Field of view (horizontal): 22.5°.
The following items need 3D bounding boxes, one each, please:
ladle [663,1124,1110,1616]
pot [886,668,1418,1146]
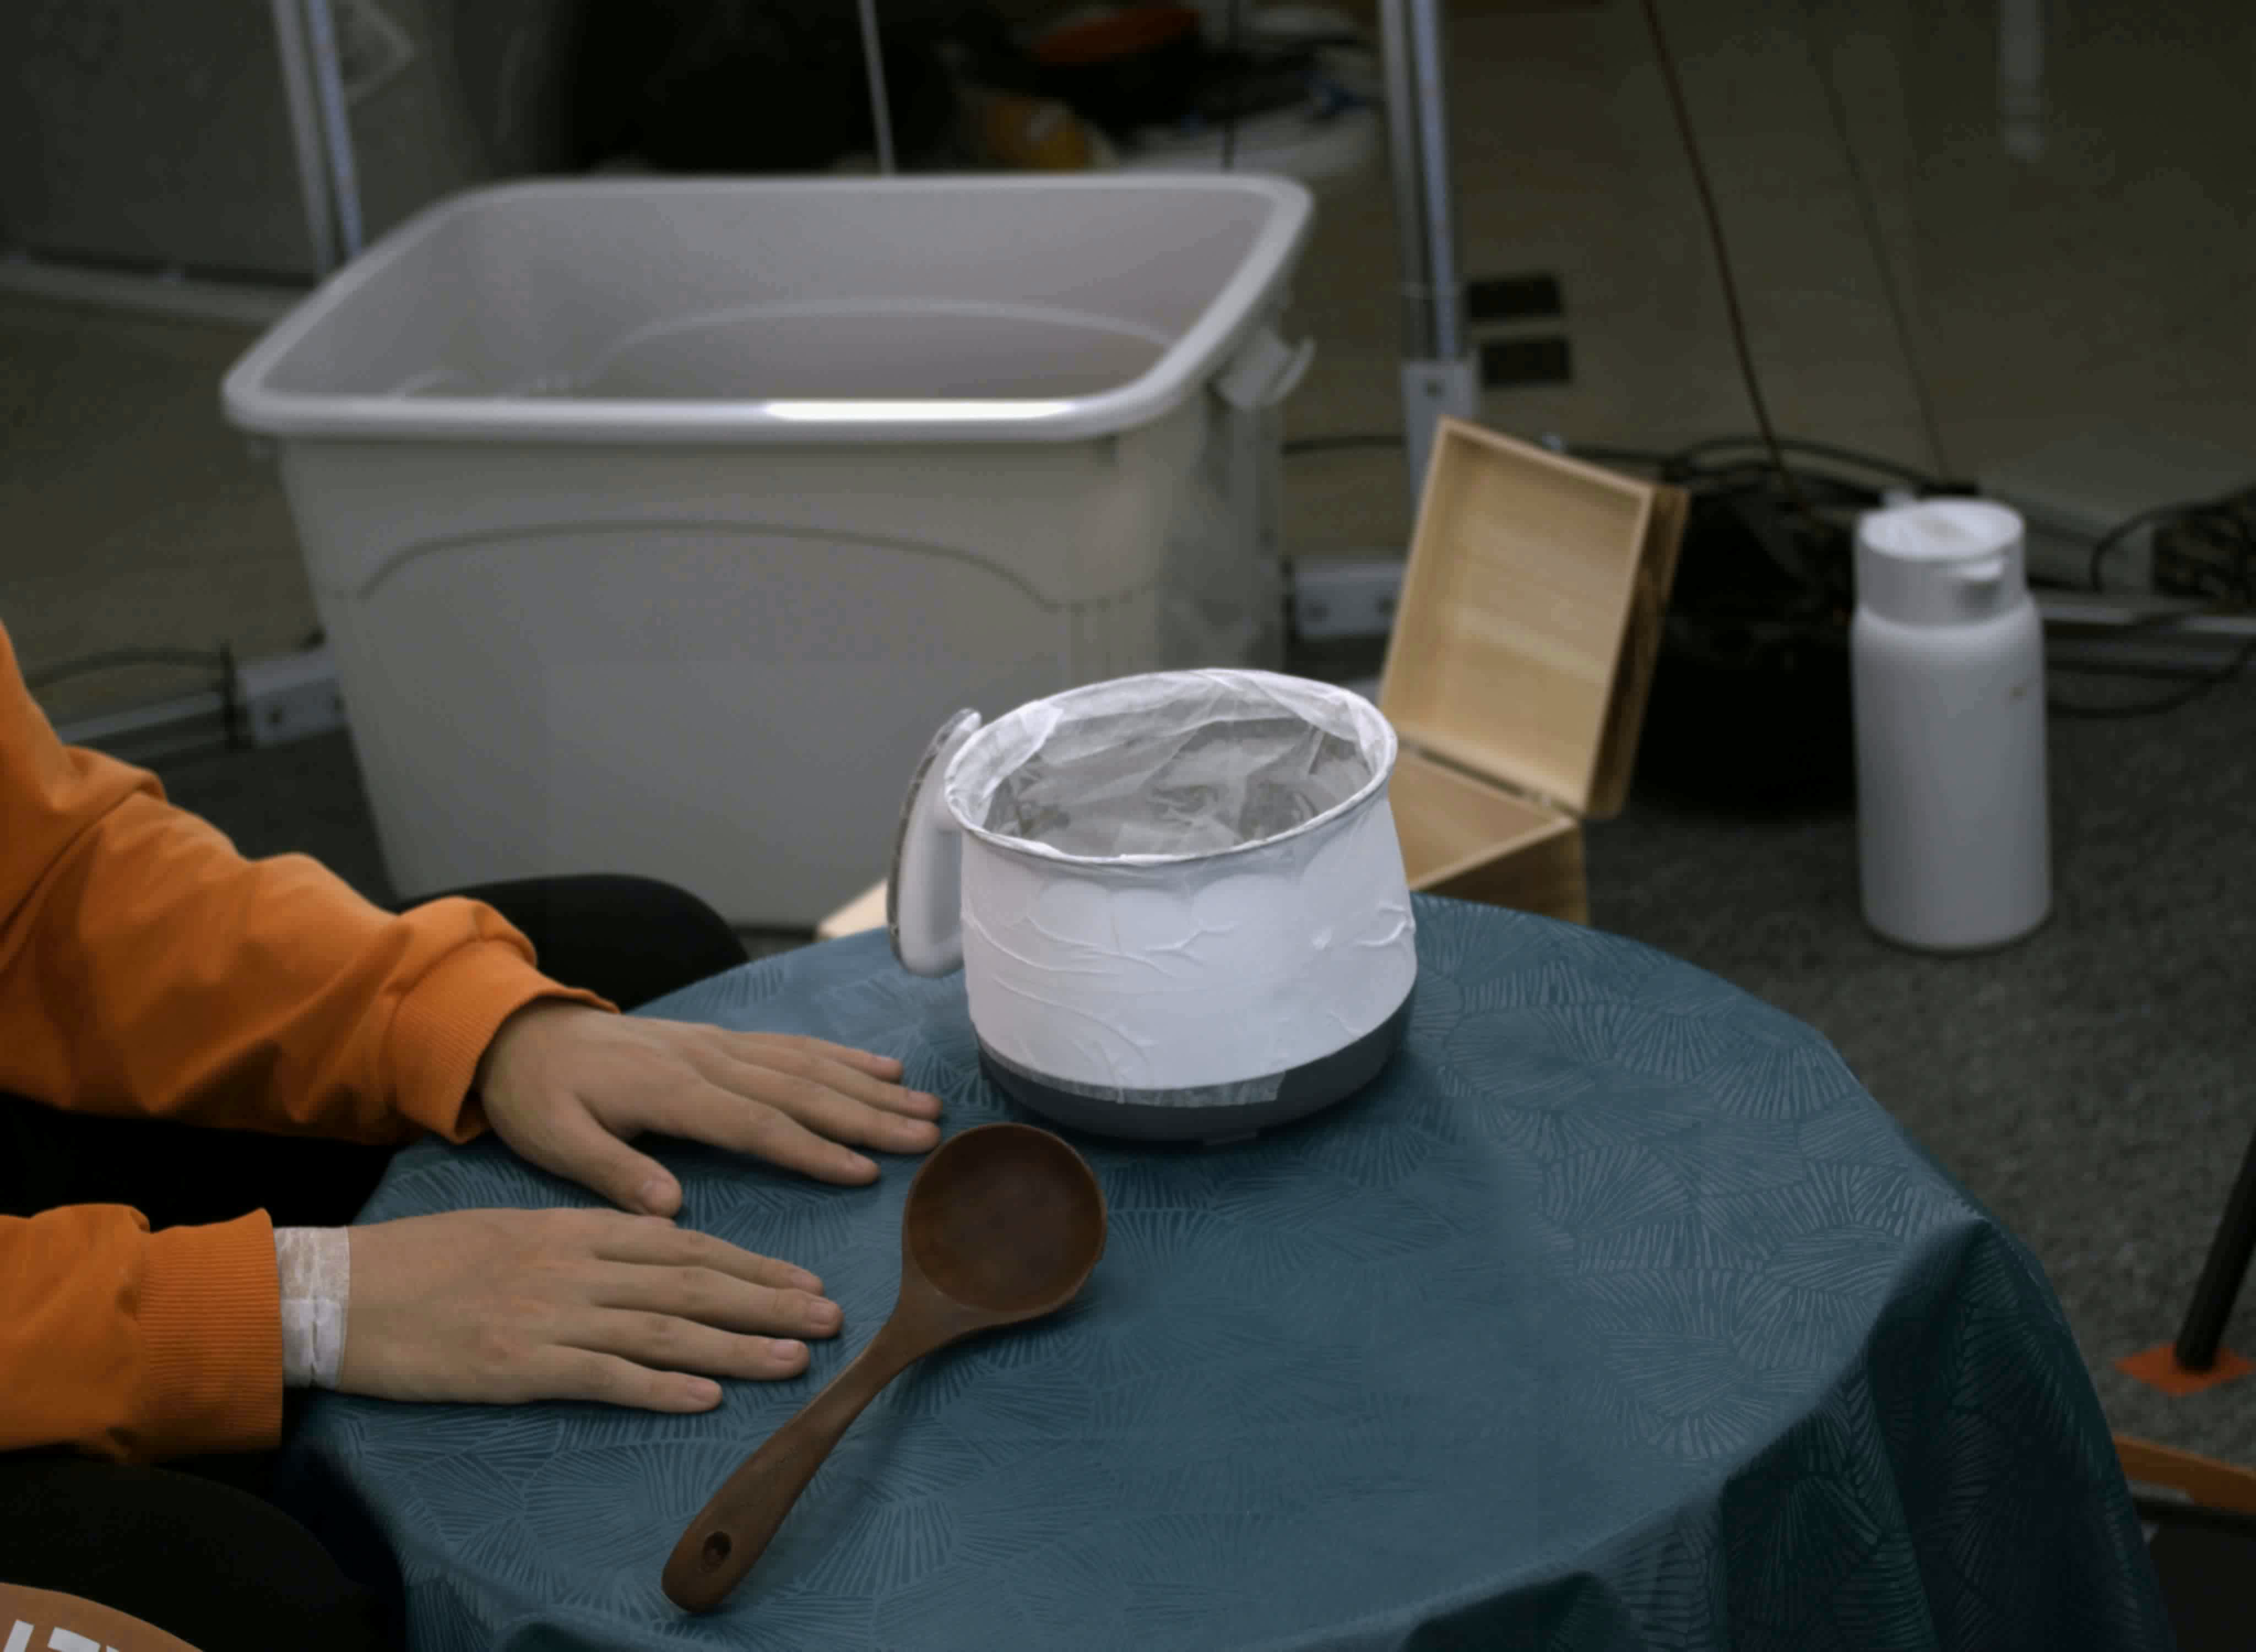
[{"bbox_3d":[-0.087,0.187,1.993,0.076,0.066,0.257,30,35,12],"label":"ladle"},{"bbox_3d":[0.000,0.028,2.219,0.232,0.139,0.177,11,30,33],"label":"pot"}]
